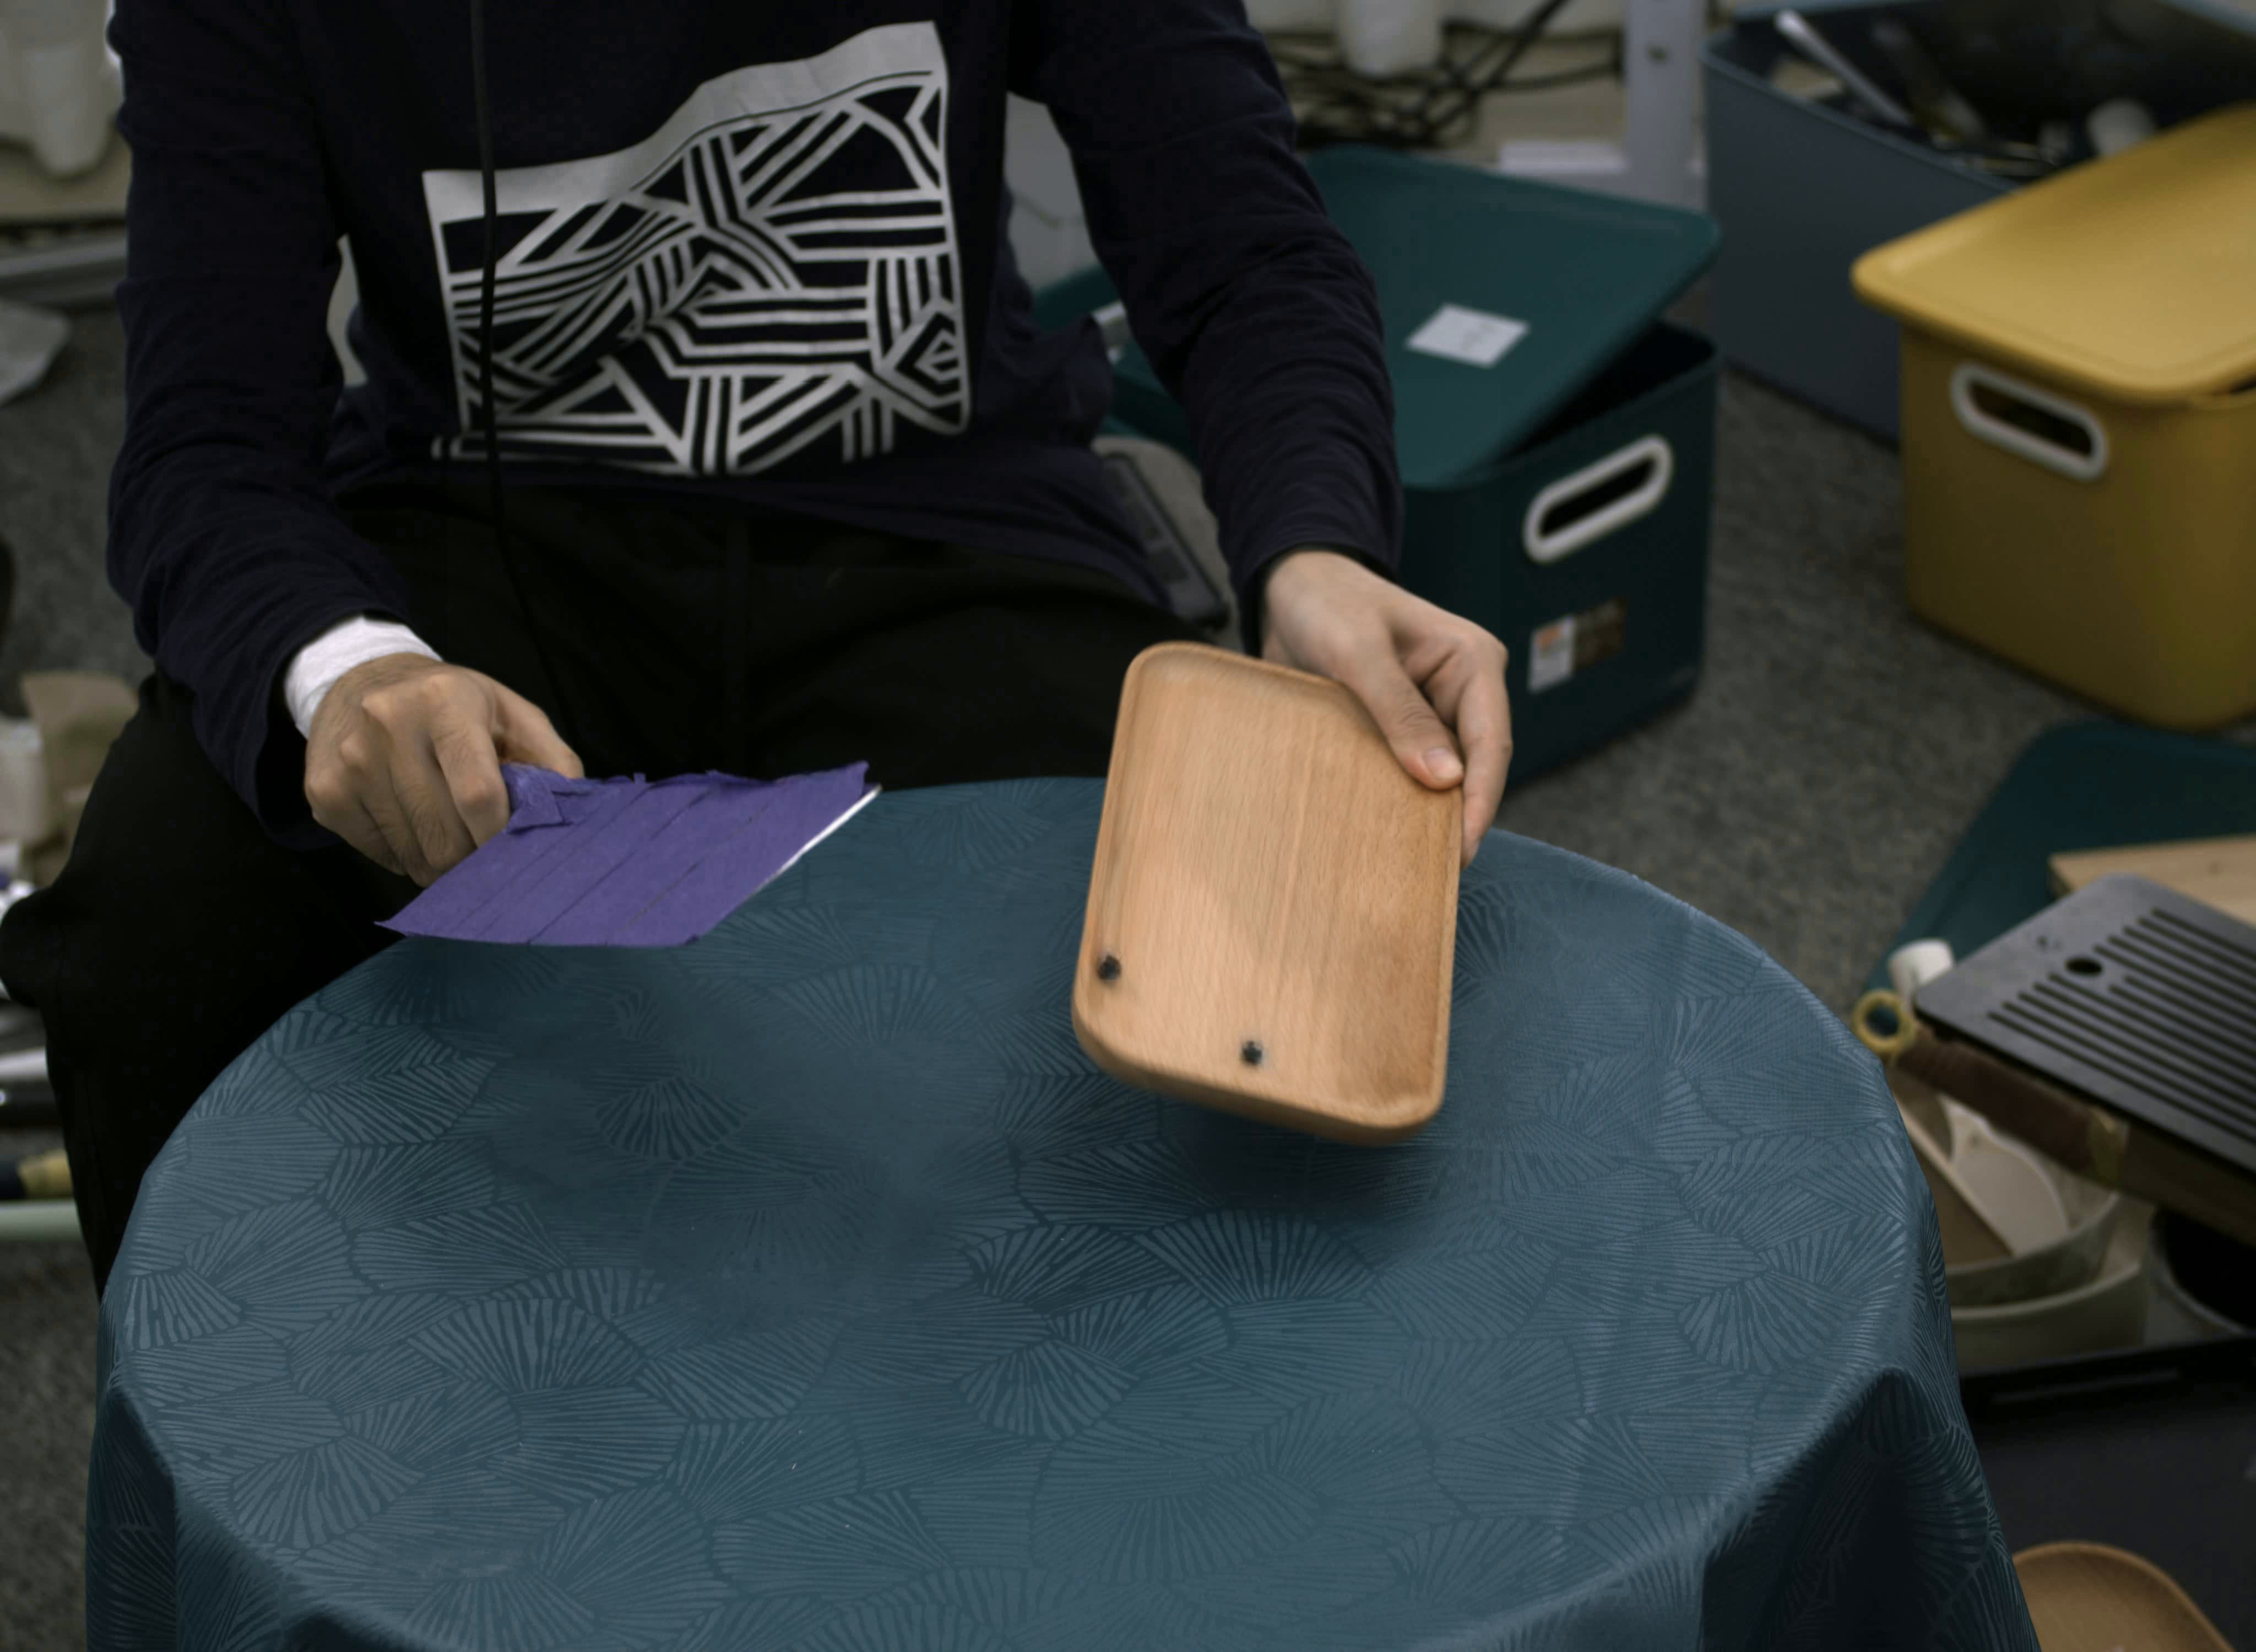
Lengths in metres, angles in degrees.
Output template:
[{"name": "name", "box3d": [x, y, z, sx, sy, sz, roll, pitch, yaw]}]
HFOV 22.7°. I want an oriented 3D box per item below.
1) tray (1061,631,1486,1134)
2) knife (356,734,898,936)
[{"name": "tray", "box3d": [0.051, 0.017, 1.920, 0.130, 0.022, 0.255, 22, 32, -4]}, {"name": "knife", "box3d": [-0.196, 0.005, 1.880, 0.105, 0.032, 0.312, -40, 19, -30]}]
